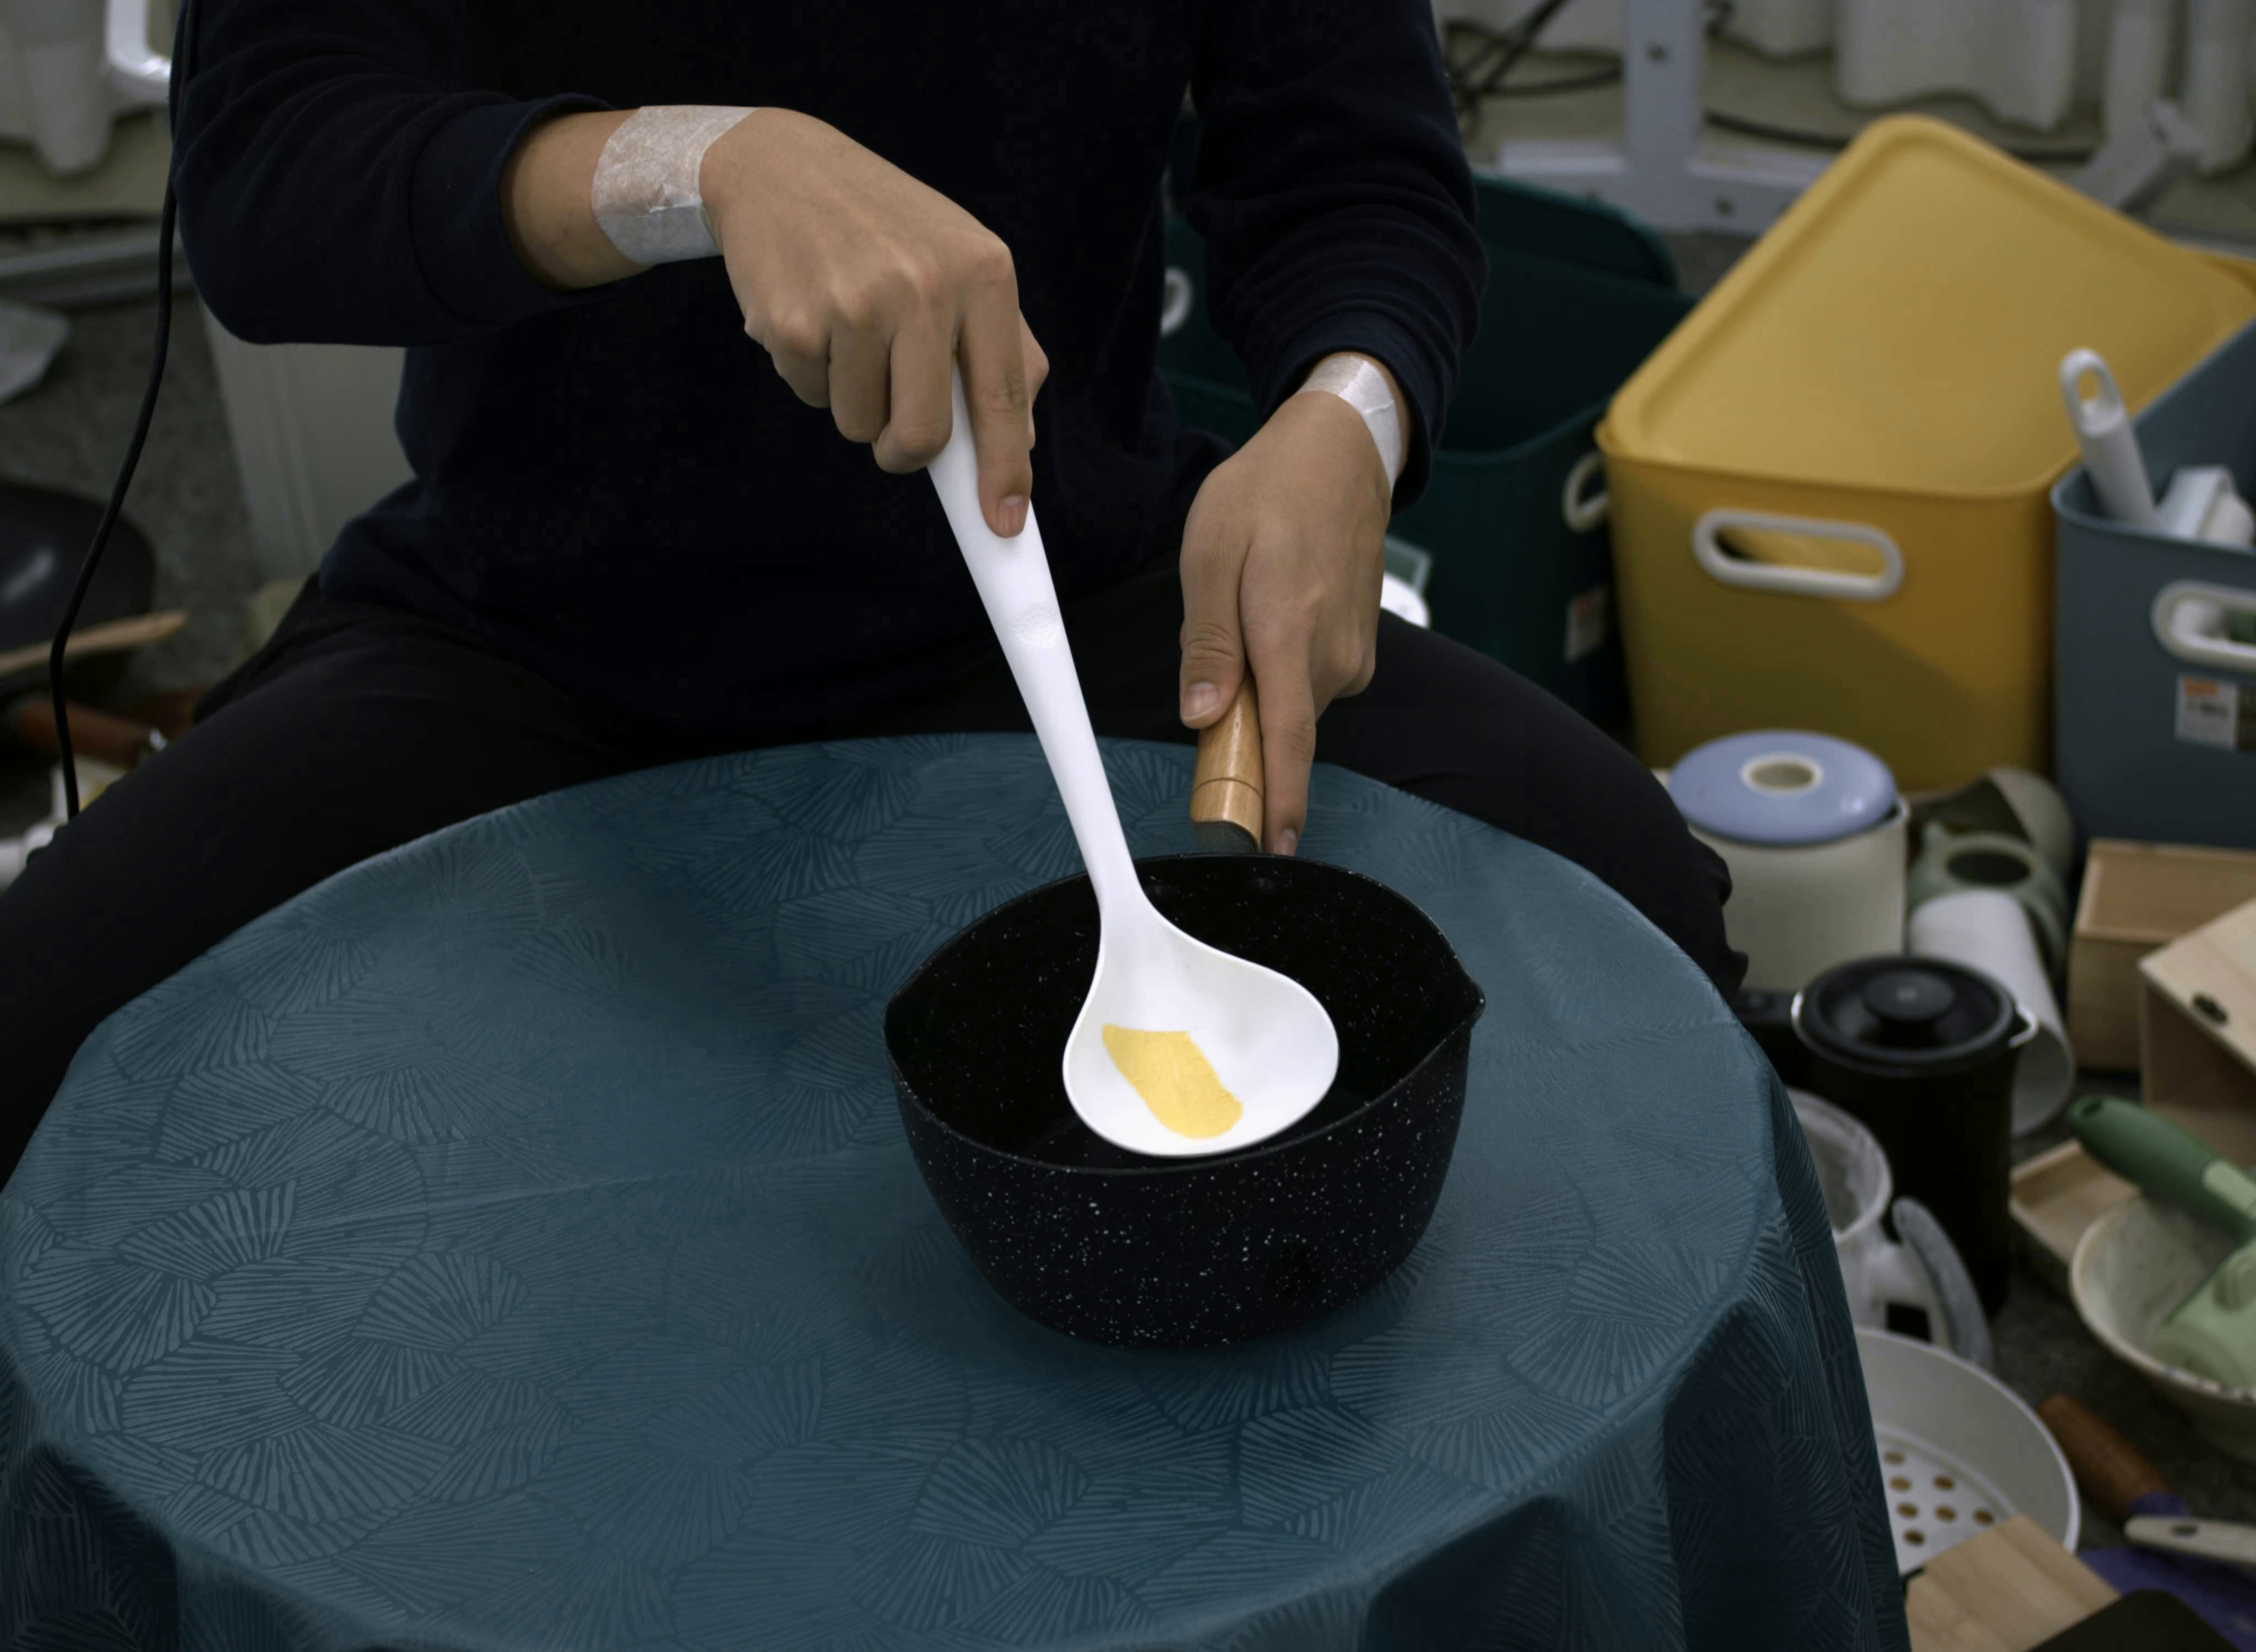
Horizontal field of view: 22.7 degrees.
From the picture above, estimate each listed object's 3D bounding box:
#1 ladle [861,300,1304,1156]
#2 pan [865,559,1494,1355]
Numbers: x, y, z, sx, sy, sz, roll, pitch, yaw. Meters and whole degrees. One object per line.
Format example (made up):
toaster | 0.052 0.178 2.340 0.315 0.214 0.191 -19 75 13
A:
ladle | -0.025 -0.031 1.811 0.090 0.294 0.069 -18 -4 -6
pan | 0.027 0.041 1.878 0.206 0.107 0.349 -4 32 9
